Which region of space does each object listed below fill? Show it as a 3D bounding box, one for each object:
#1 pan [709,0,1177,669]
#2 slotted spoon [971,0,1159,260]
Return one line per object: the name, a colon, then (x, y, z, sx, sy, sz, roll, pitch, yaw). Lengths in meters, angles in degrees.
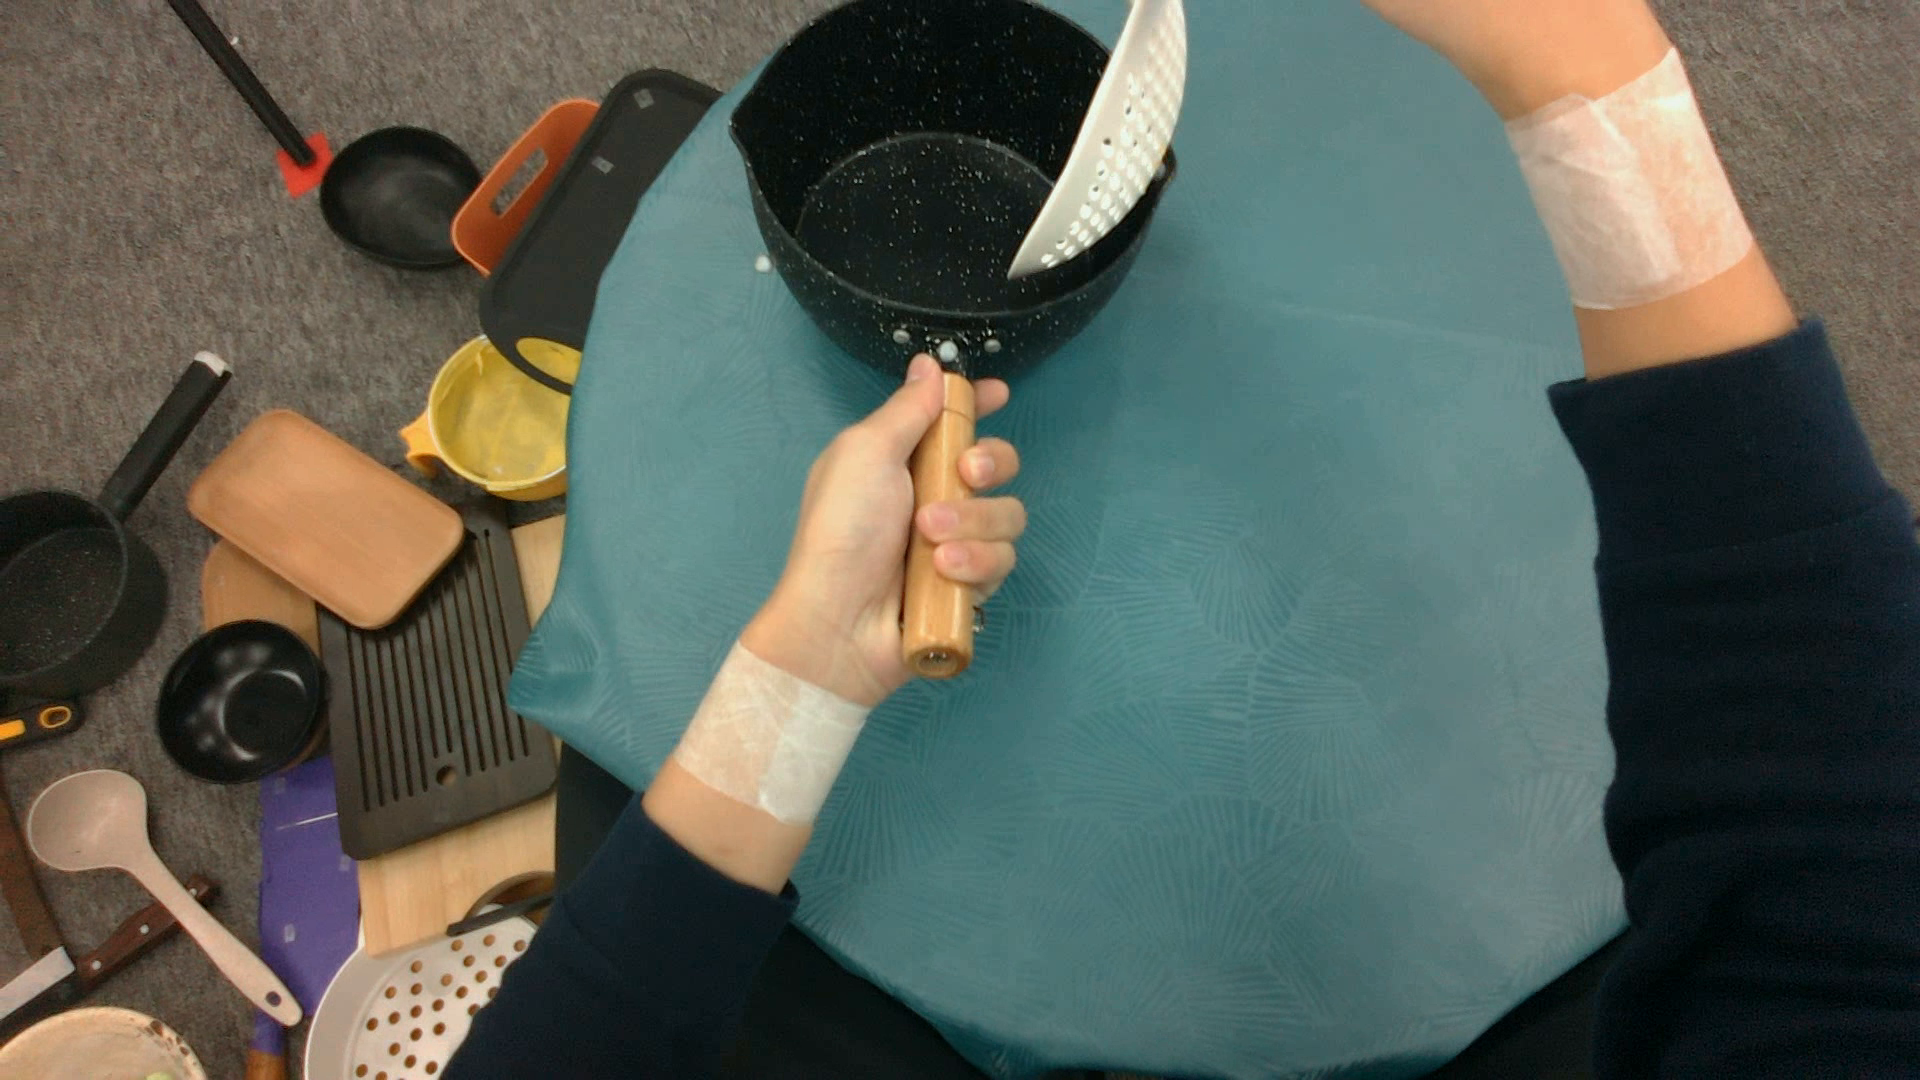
pan: (-0.010, -0.092, 0.600, 0.207, 0.108, 0.344, 3, 64, -6)
slotted spoon: (0.066, -0.198, 0.486, 0.050, 0.347, 0.137, 25, 77, -1)
